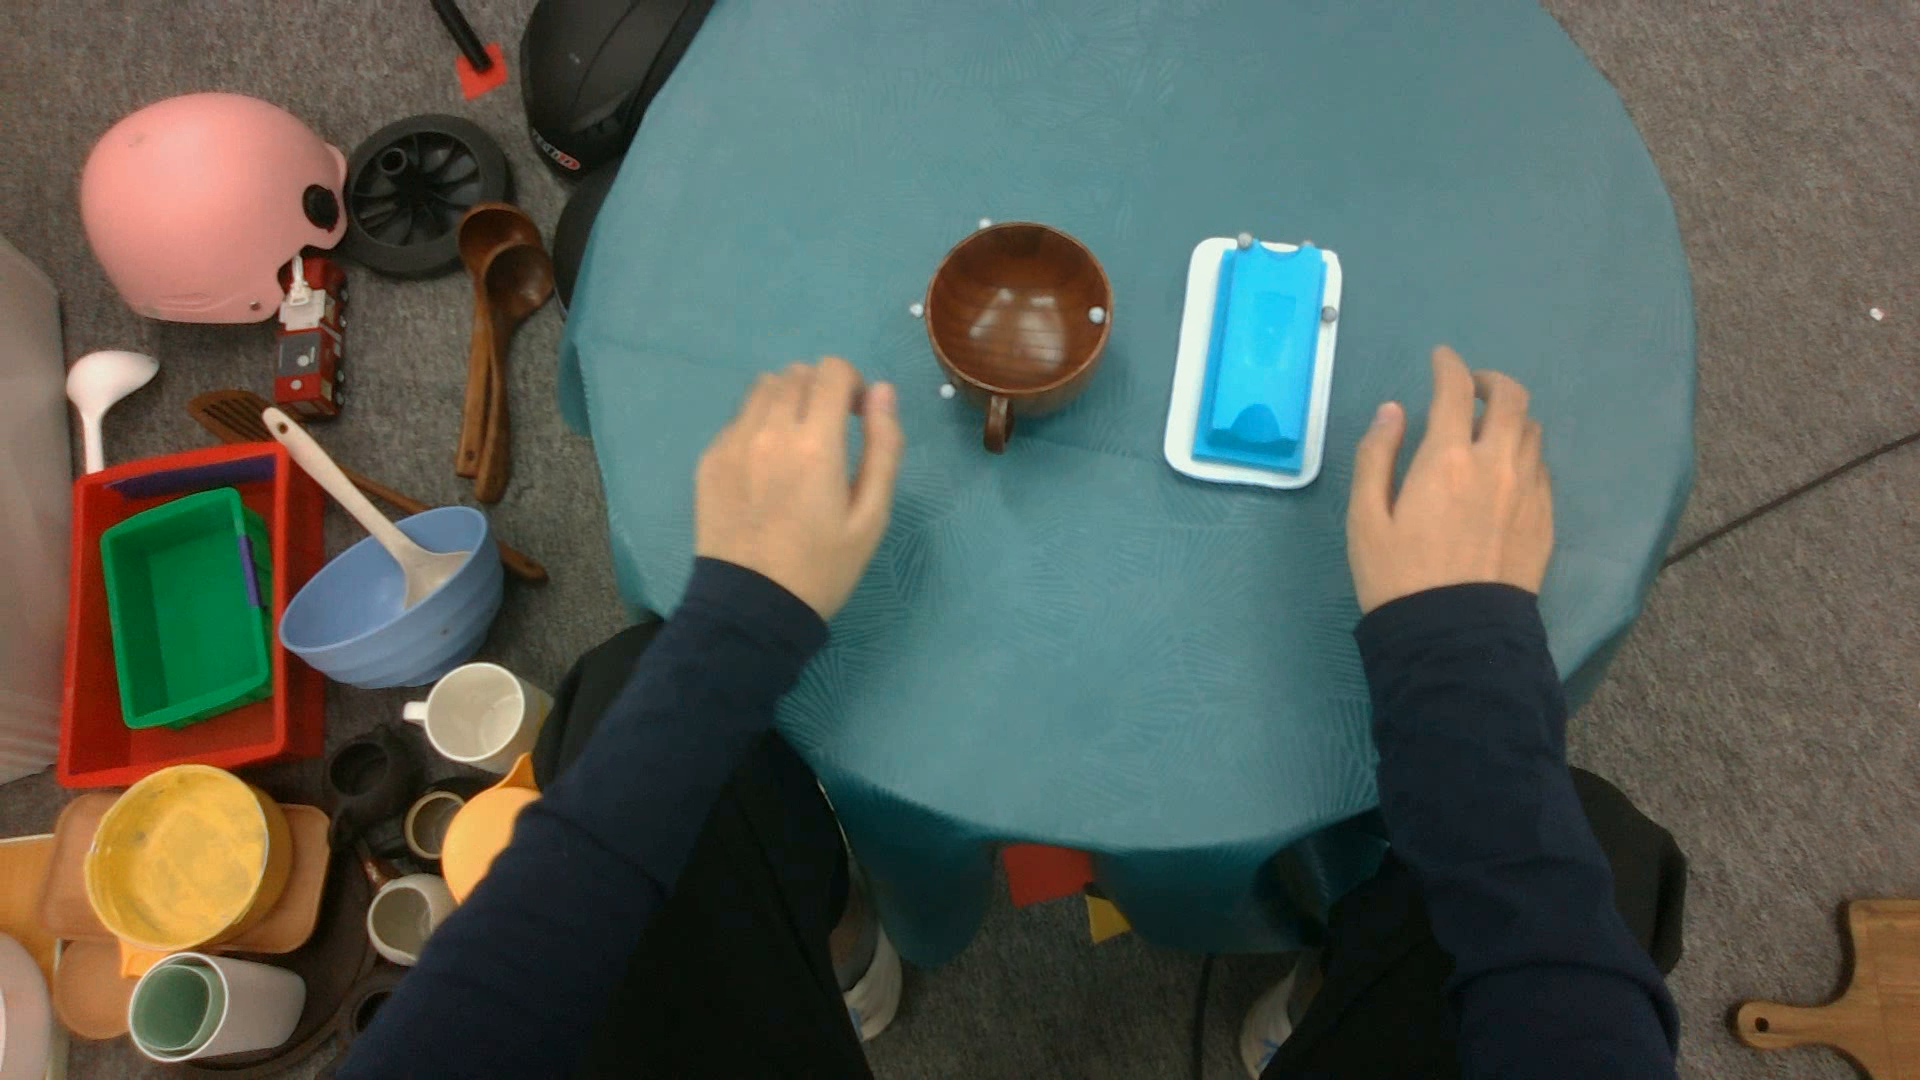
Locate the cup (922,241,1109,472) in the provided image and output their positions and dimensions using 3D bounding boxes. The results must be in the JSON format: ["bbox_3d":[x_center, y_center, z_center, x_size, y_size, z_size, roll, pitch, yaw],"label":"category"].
[{"bbox_3d":[0.026,-0.089,0.724,0.096,0.067,0.120,9,74,3],"label":"cup"}]

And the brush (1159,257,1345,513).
[{"bbox_3d":[0.154,-0.088,0.716,0.084,0.056,0.144,10,70,11],"label":"brush"}]
